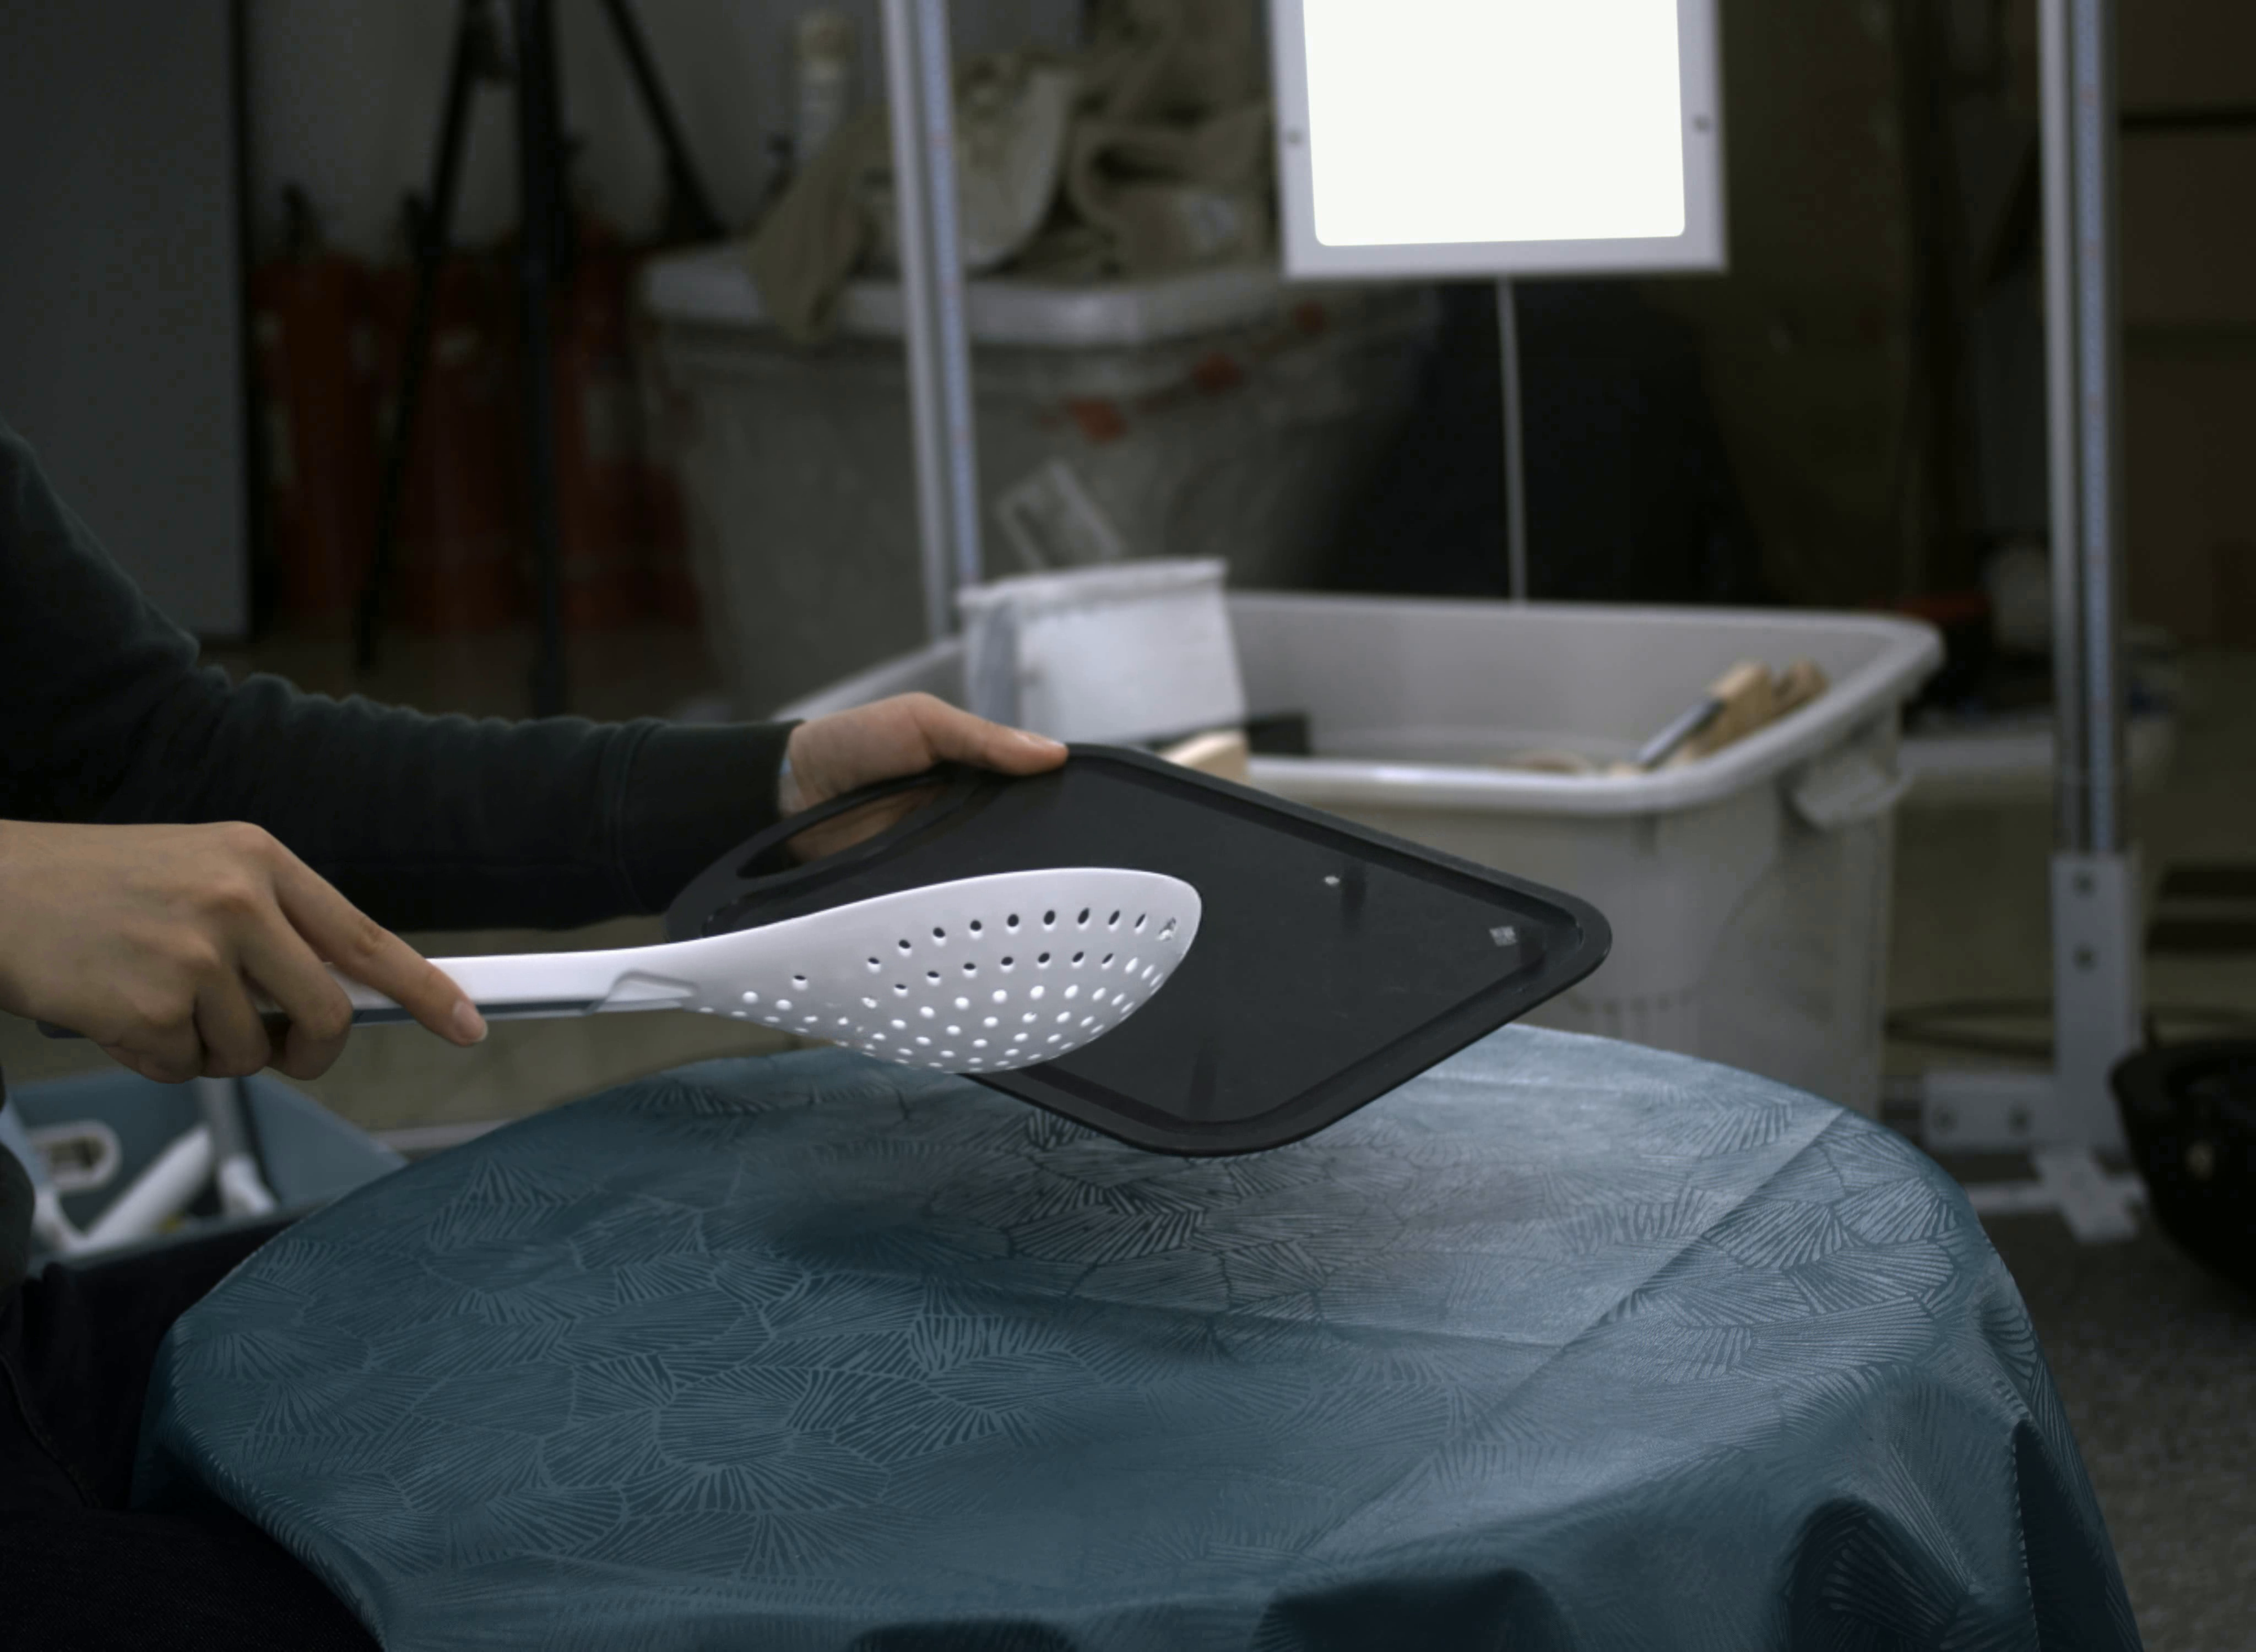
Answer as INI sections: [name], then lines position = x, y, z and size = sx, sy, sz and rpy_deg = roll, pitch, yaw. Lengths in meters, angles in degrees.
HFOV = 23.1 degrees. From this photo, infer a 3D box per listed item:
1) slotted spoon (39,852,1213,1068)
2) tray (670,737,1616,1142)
[slotted spoon]
position = -0.142, 0.043, 1.614
size = 0.344, 0.046, 0.138
rpy_deg = 2, -20, -16
[tray]
position = -0.005, 0.031, 1.880
size = 0.206, 0.010, 0.332
rpy_deg = -27, 31, -35
